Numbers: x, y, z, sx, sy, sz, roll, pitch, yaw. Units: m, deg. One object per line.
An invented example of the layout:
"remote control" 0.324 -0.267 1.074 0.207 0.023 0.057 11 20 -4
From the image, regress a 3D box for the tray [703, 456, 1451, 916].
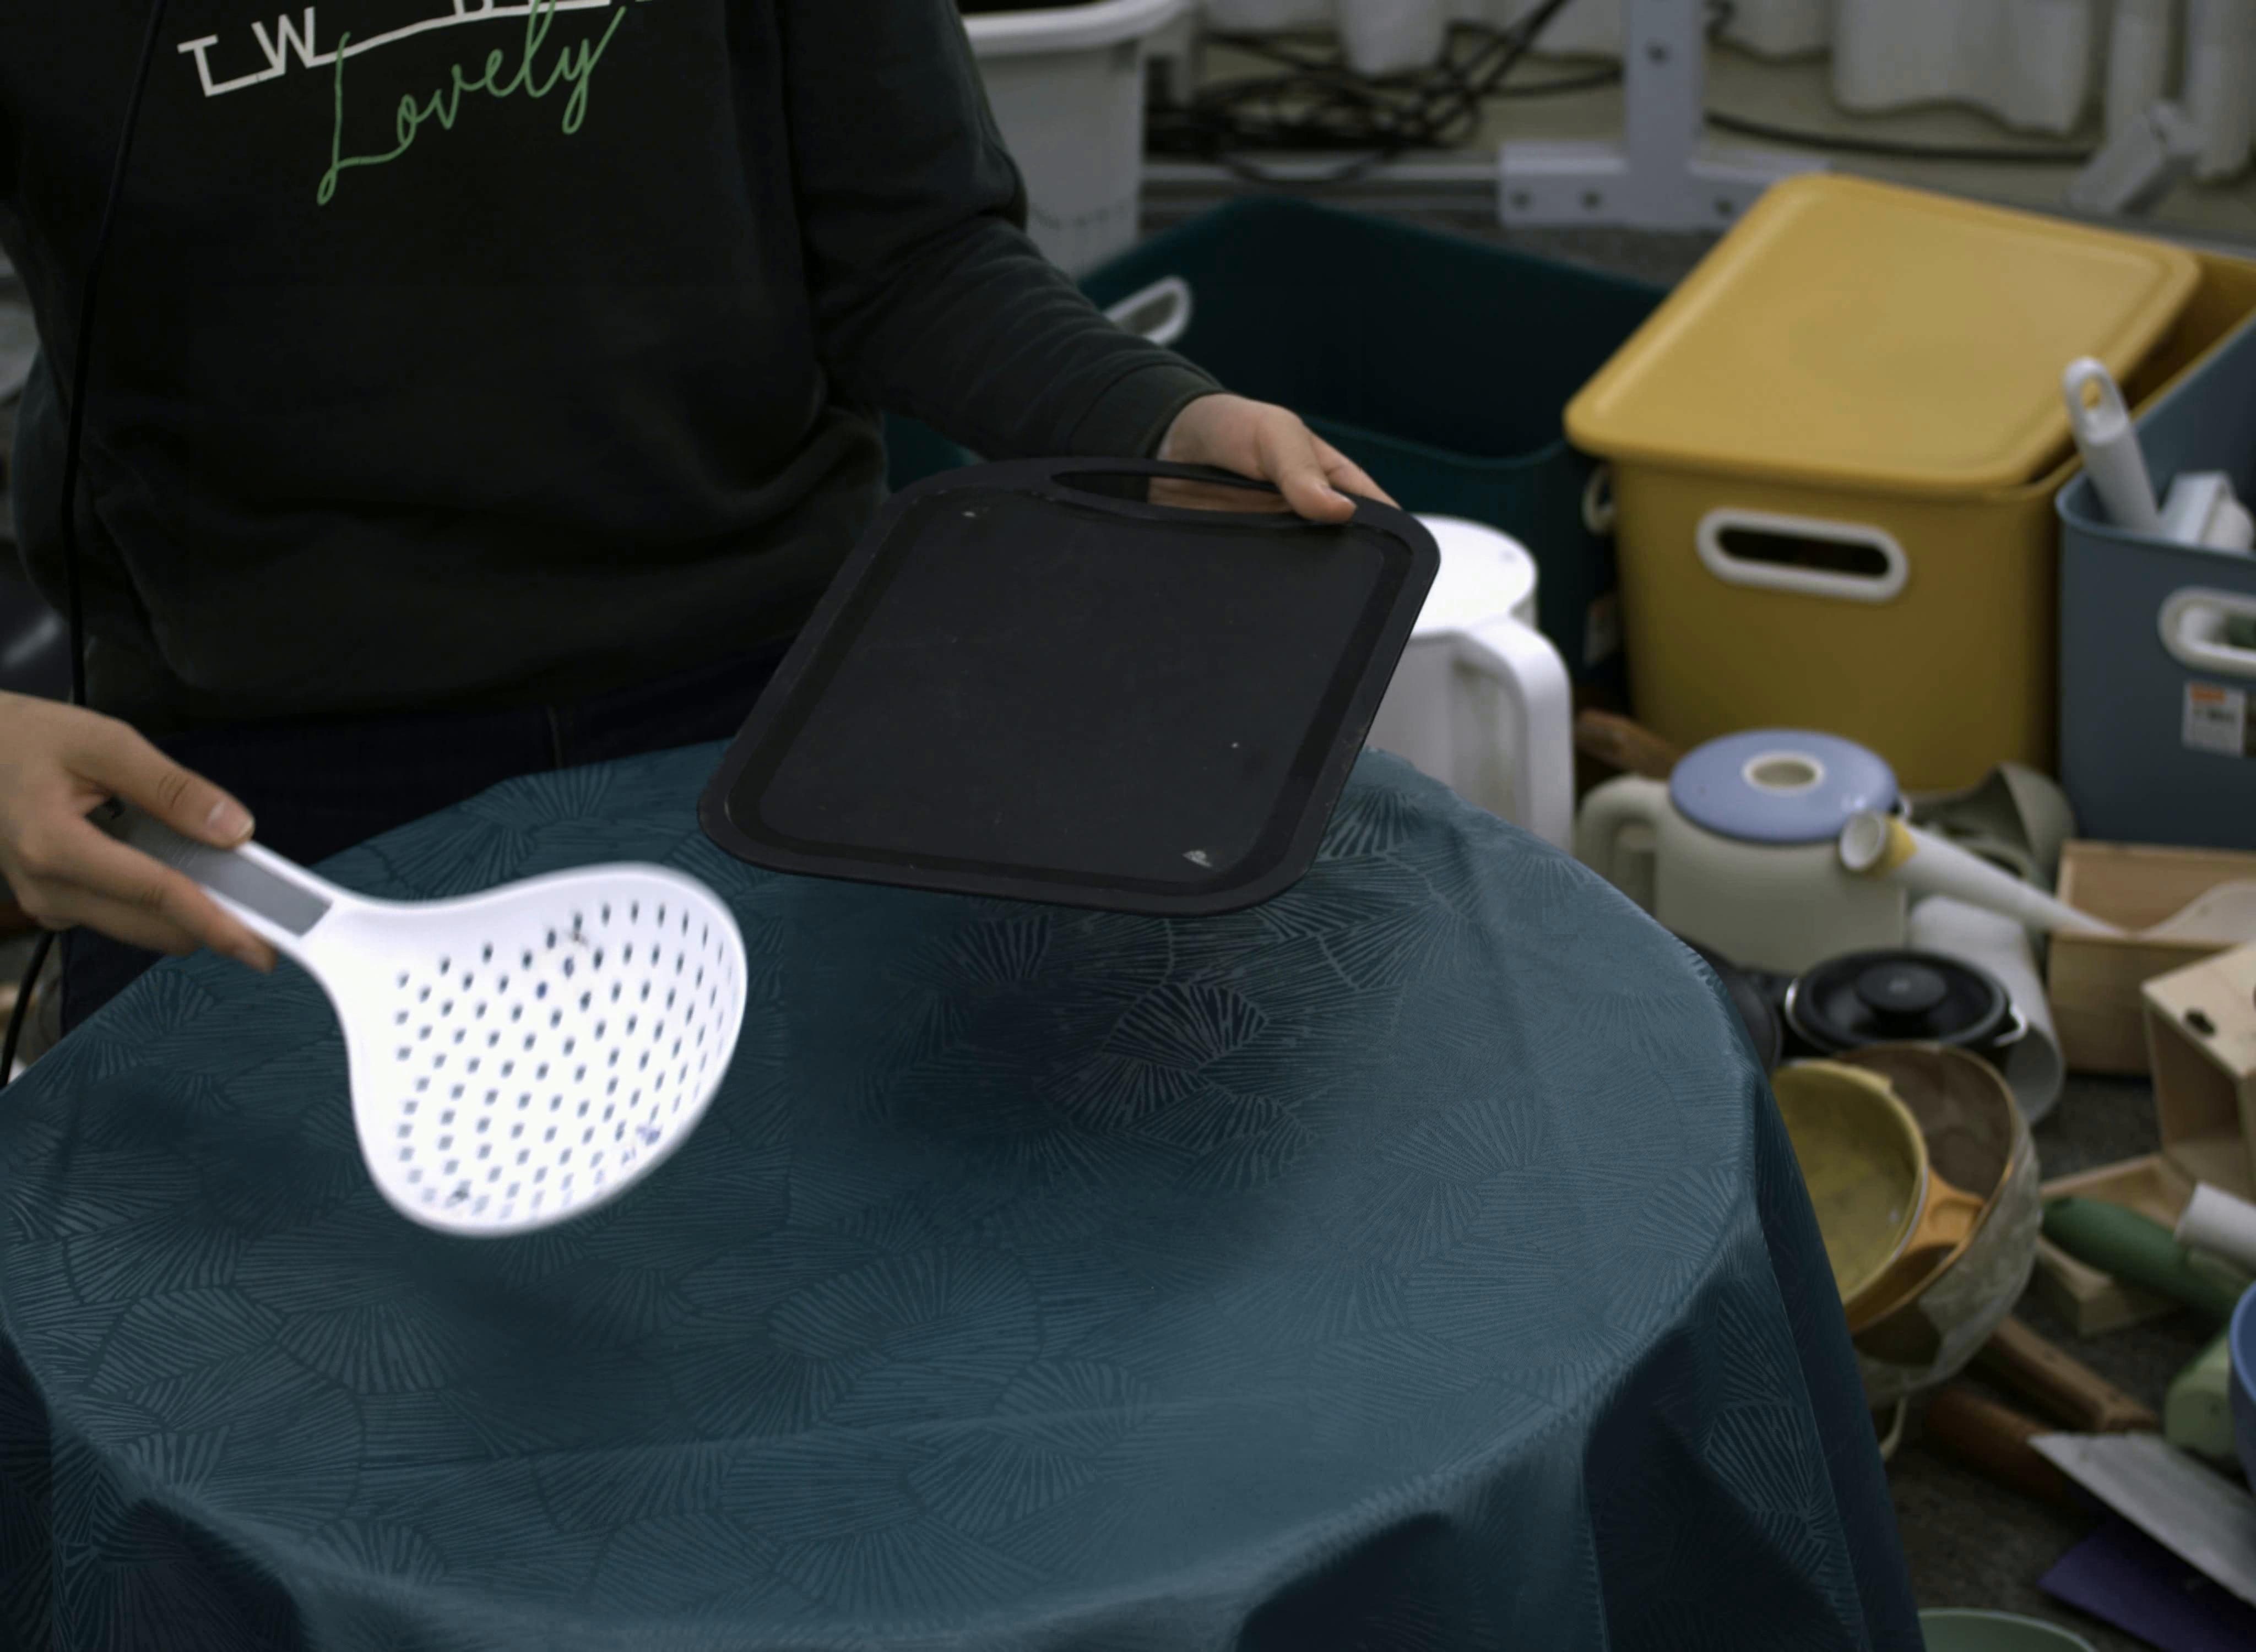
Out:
"tray" -0.011 -0.058 1.957 0.210 0.009 0.331 7 30 13

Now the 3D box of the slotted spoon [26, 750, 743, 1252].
"slotted spoon" -0.252 0.044 1.821 0.350 0.045 0.137 28 68 37
